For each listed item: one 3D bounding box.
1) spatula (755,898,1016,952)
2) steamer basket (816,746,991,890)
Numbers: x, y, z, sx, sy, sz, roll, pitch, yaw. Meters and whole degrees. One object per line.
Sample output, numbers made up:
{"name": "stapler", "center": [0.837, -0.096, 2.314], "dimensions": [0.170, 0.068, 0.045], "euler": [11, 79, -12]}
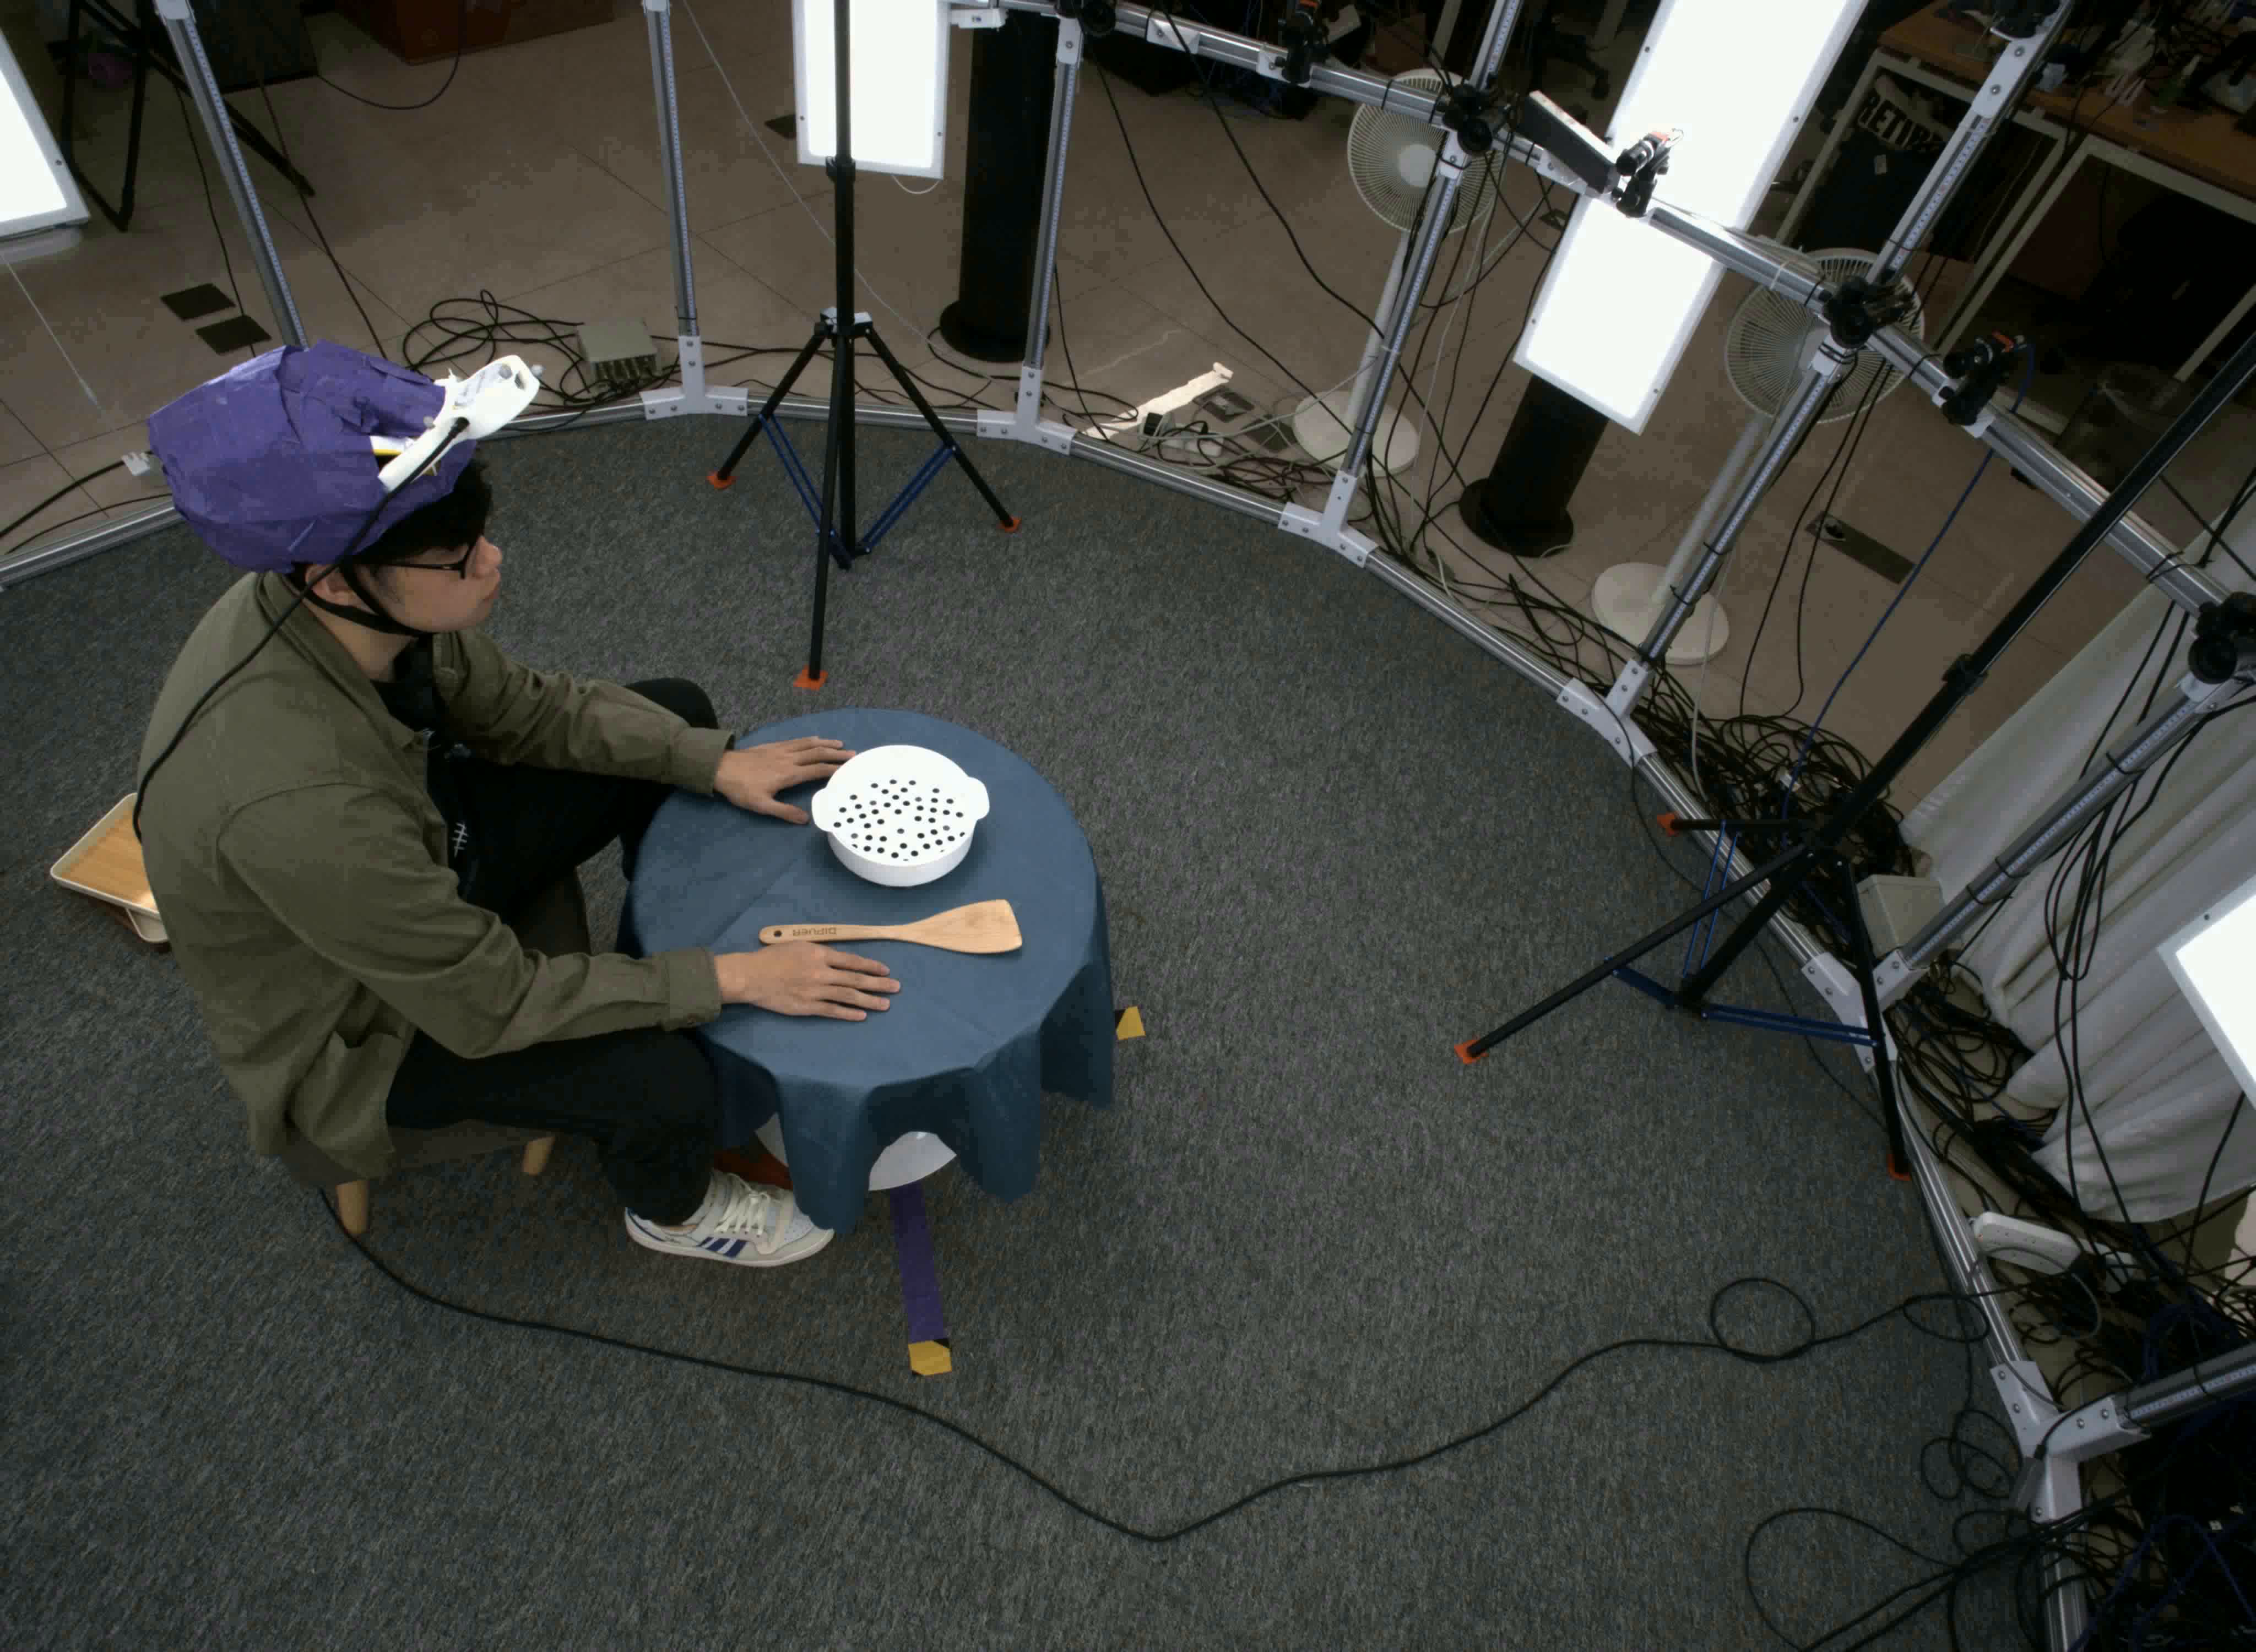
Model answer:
{"name": "spatula", "center": [-0.308, 0.130, 1.661], "dimensions": [0.328, 0.017, 0.078], "euler": [-1, 54, -15]}
{"name": "steamer basket", "center": [-0.298, -0.011, 1.738], "dimensions": [0.231, 0.071, 0.197], "euler": [-6, 55, -15]}
